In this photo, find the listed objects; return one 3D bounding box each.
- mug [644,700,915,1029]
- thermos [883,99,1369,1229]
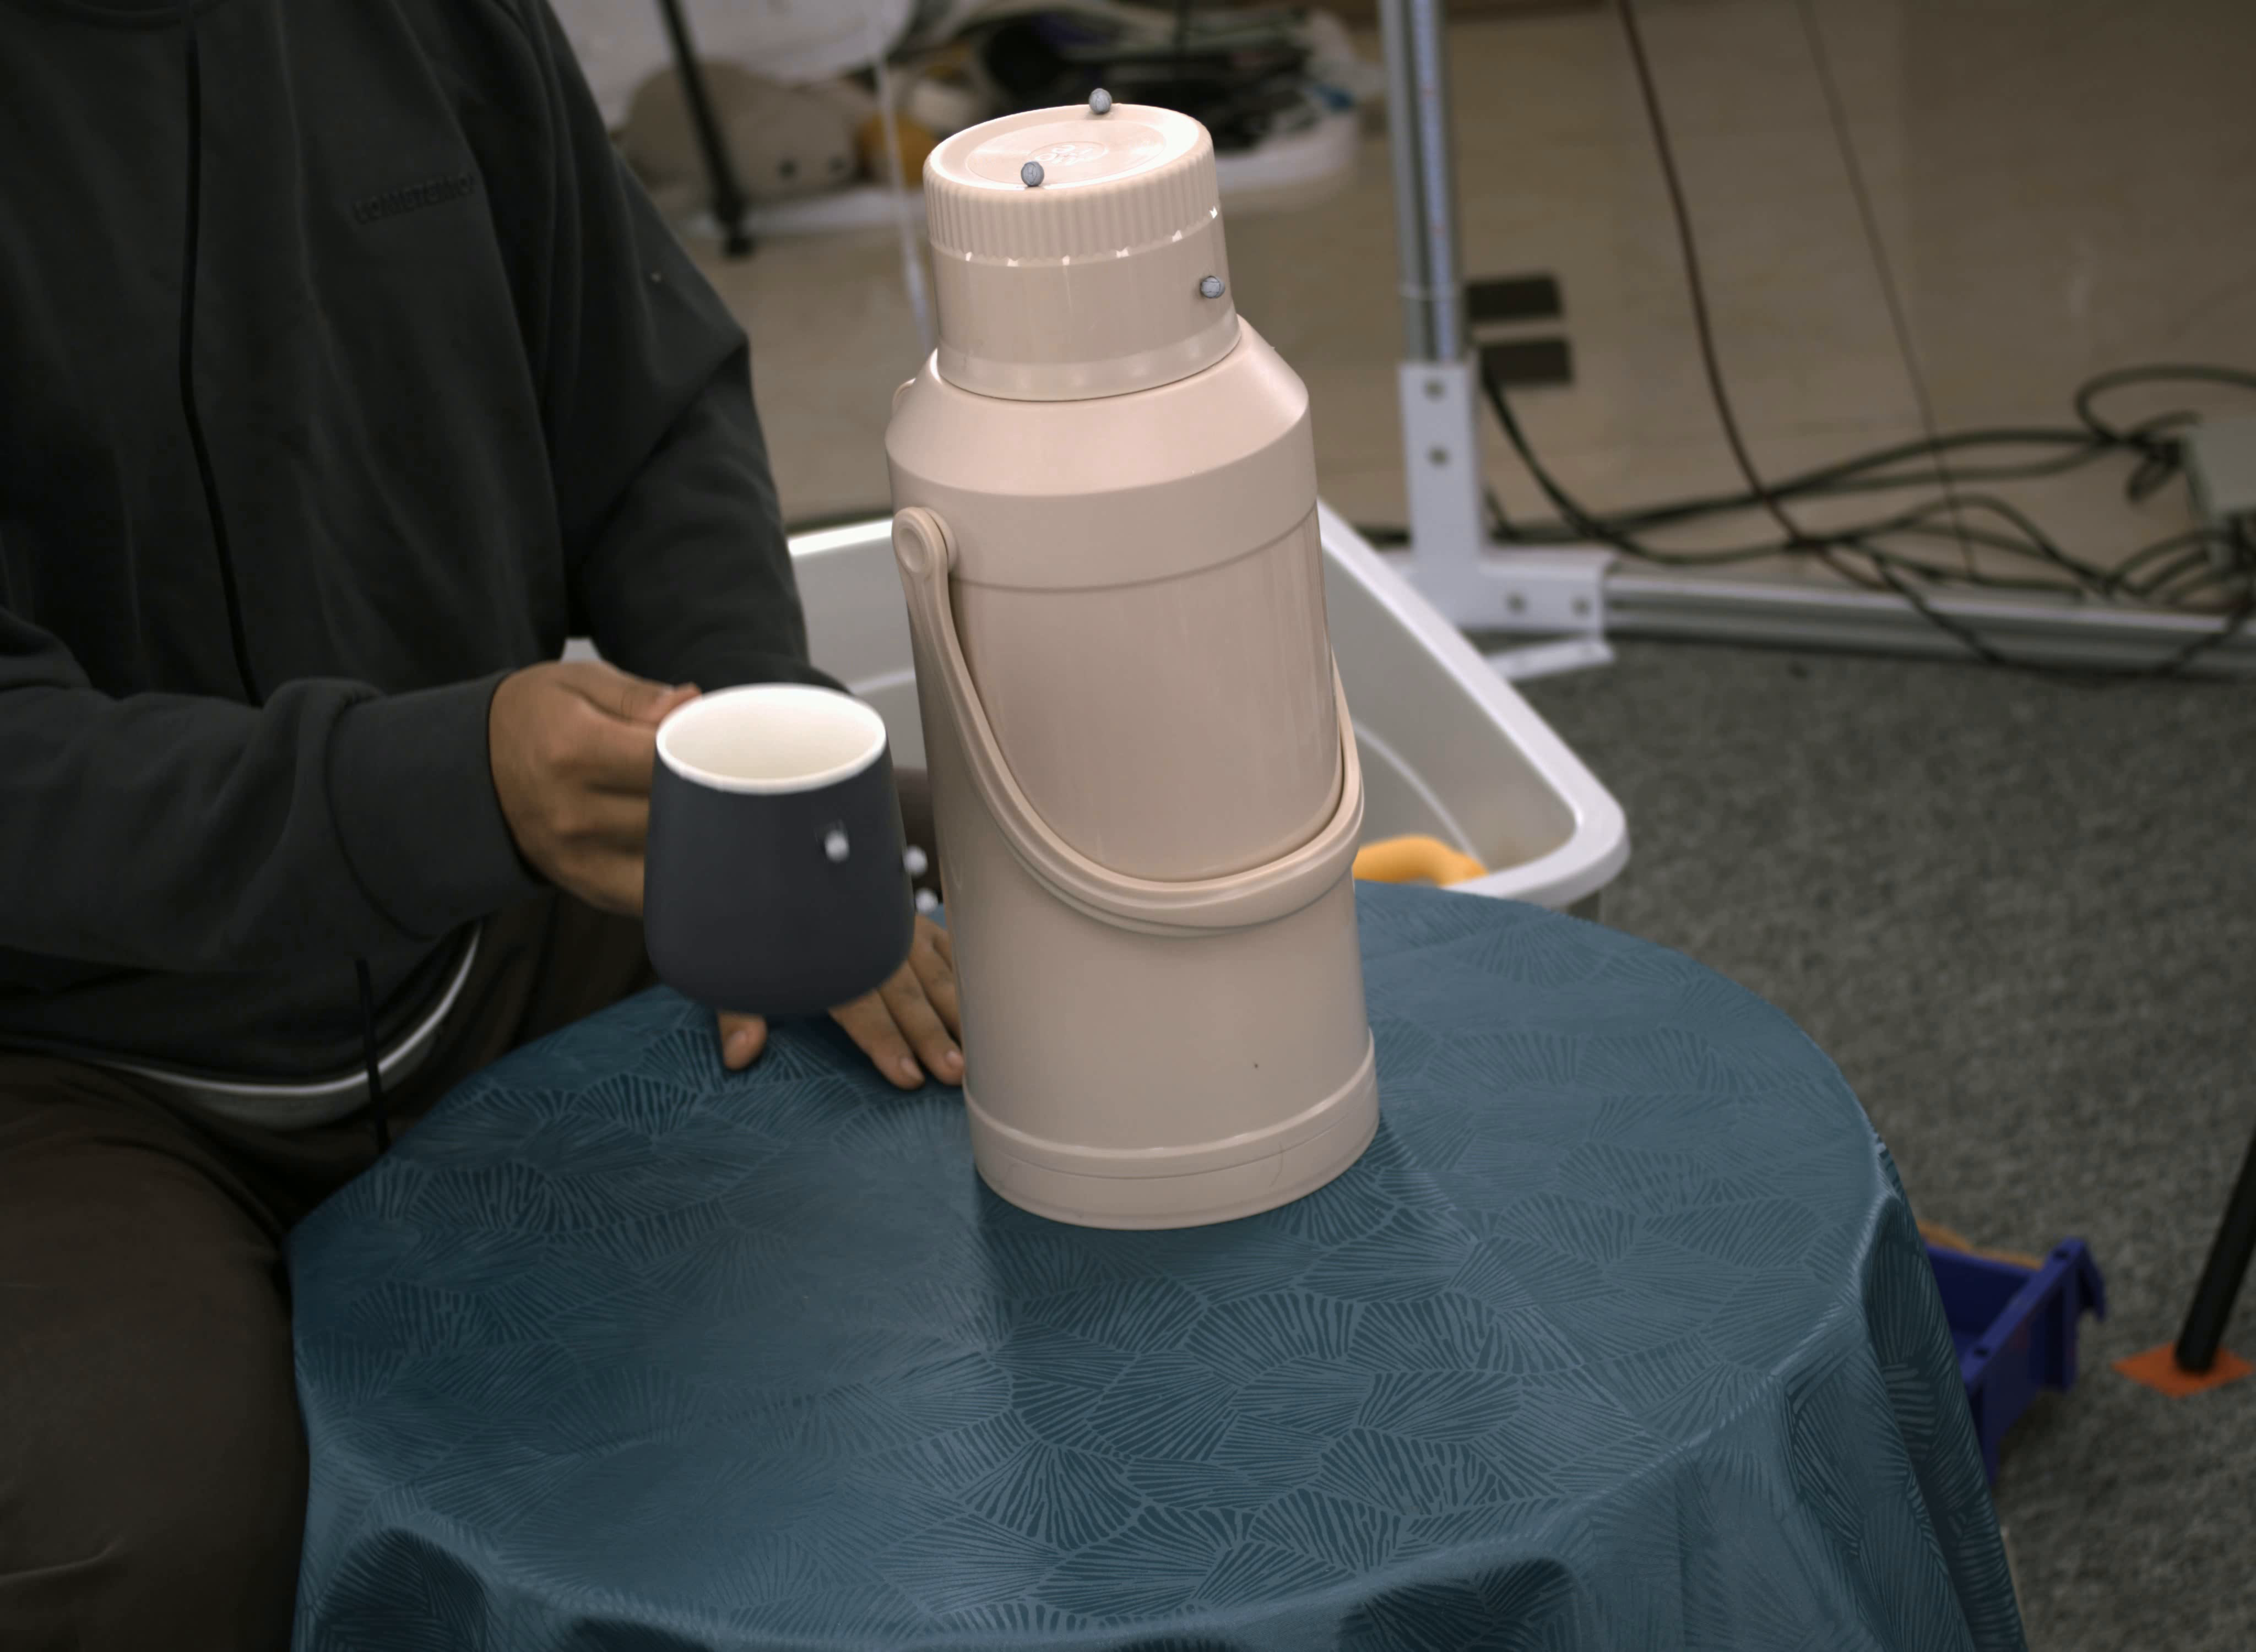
[{"bbox_3d":[-0.128,0.007,1.955,0.093,0.091,0.121,-17,33,-27],"label":"mug"},{"bbox_3d":[-0.011,-0.065,2.112,0.174,0.413,0.205,-24,31,-32],"label":"thermos"}]
